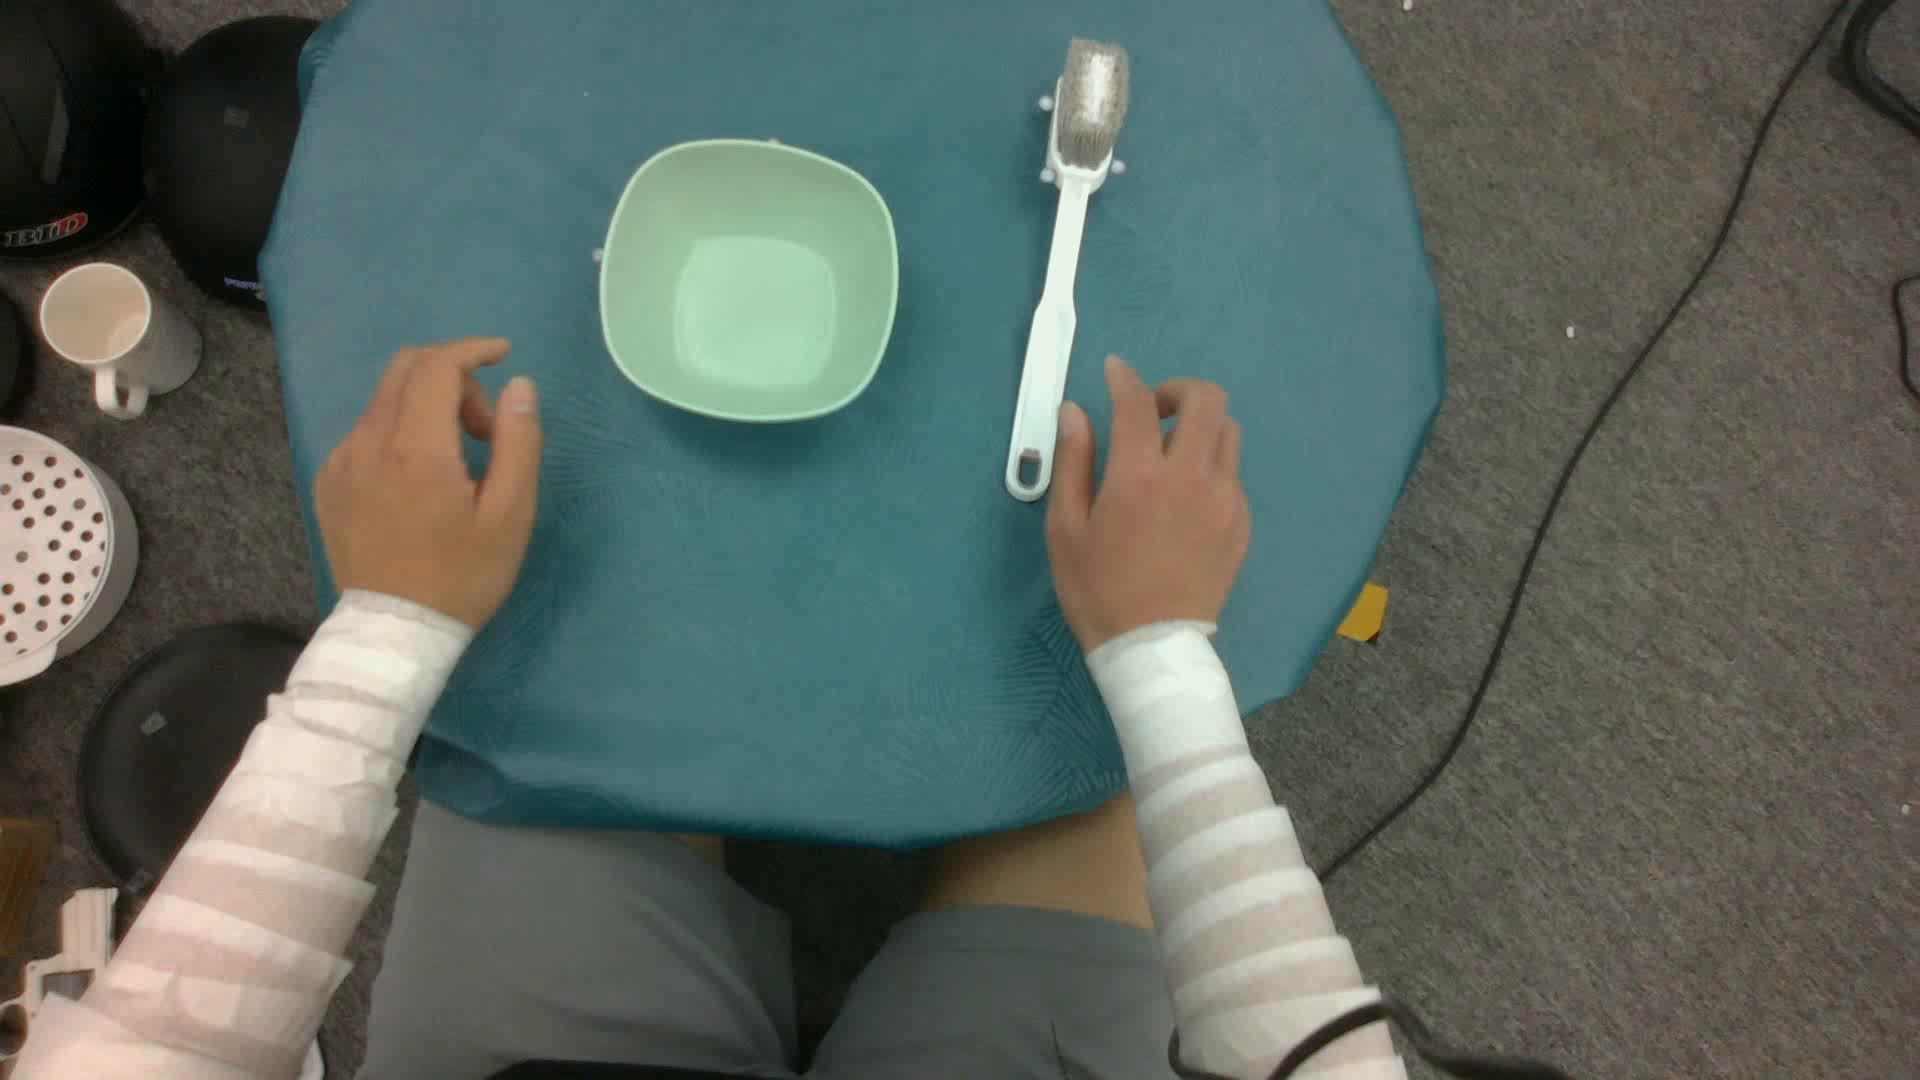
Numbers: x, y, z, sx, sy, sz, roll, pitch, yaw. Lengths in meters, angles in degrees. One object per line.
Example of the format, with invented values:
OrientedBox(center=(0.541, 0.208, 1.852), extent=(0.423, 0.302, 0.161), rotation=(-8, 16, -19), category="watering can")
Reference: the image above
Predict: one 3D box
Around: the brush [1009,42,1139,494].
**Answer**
OrientedBox(center=(0.058, -0.145, 0.713), extent=(0.034, 0.050, 0.244), rotation=(11, 78, -3), category="brush")

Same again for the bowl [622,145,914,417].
OrientedBox(center=(-0.093, -0.121, 0.687), extent=(0.151, 0.058, 0.152), rotation=(1, 77, -3), category="bowl")
